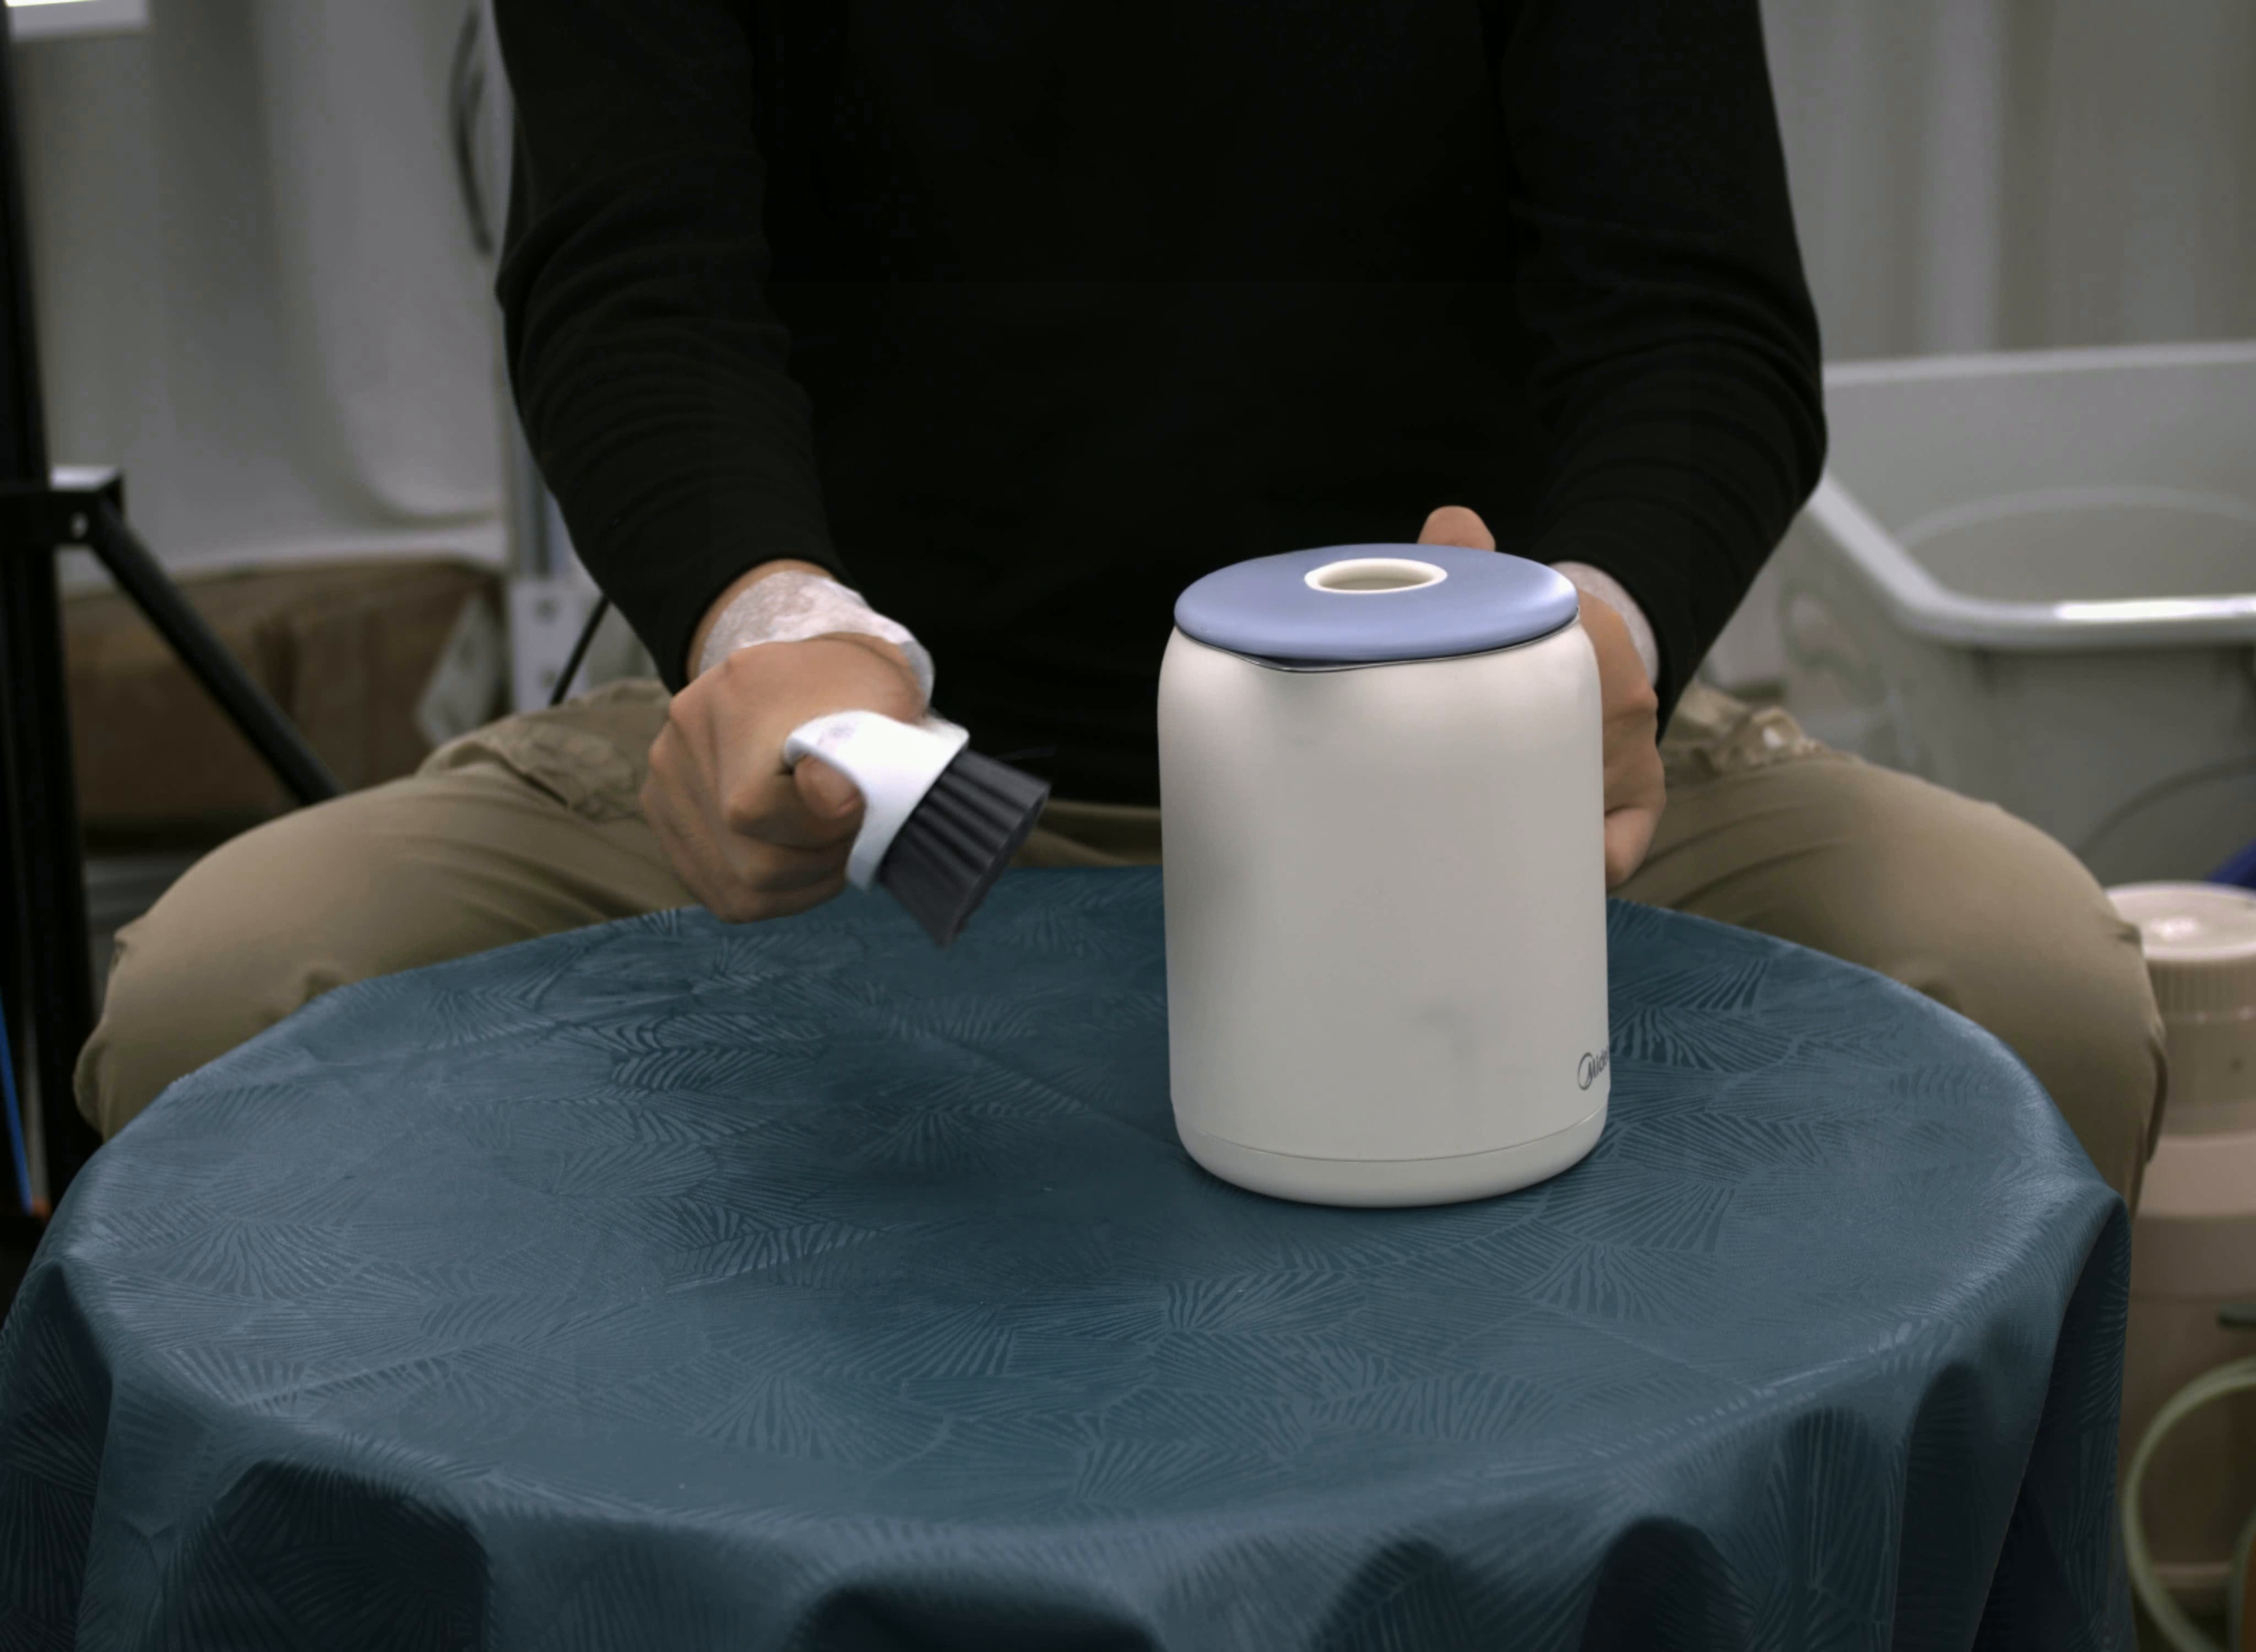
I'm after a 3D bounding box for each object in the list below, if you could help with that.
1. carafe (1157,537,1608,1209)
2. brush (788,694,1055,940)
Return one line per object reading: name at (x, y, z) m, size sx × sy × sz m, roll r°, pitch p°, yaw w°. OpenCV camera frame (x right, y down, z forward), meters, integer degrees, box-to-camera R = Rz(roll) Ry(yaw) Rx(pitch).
carafe at (0.084, 0.007, 1.588) m, size 0.134 × 0.182 × 0.188 m, roll 4°, pitch 15°, yaw 21°
brush at (-0.065, -0.010, 1.539) m, size 0.072 × 0.050 × 0.099 m, roll 33°, pitch -10°, yaw 4°
